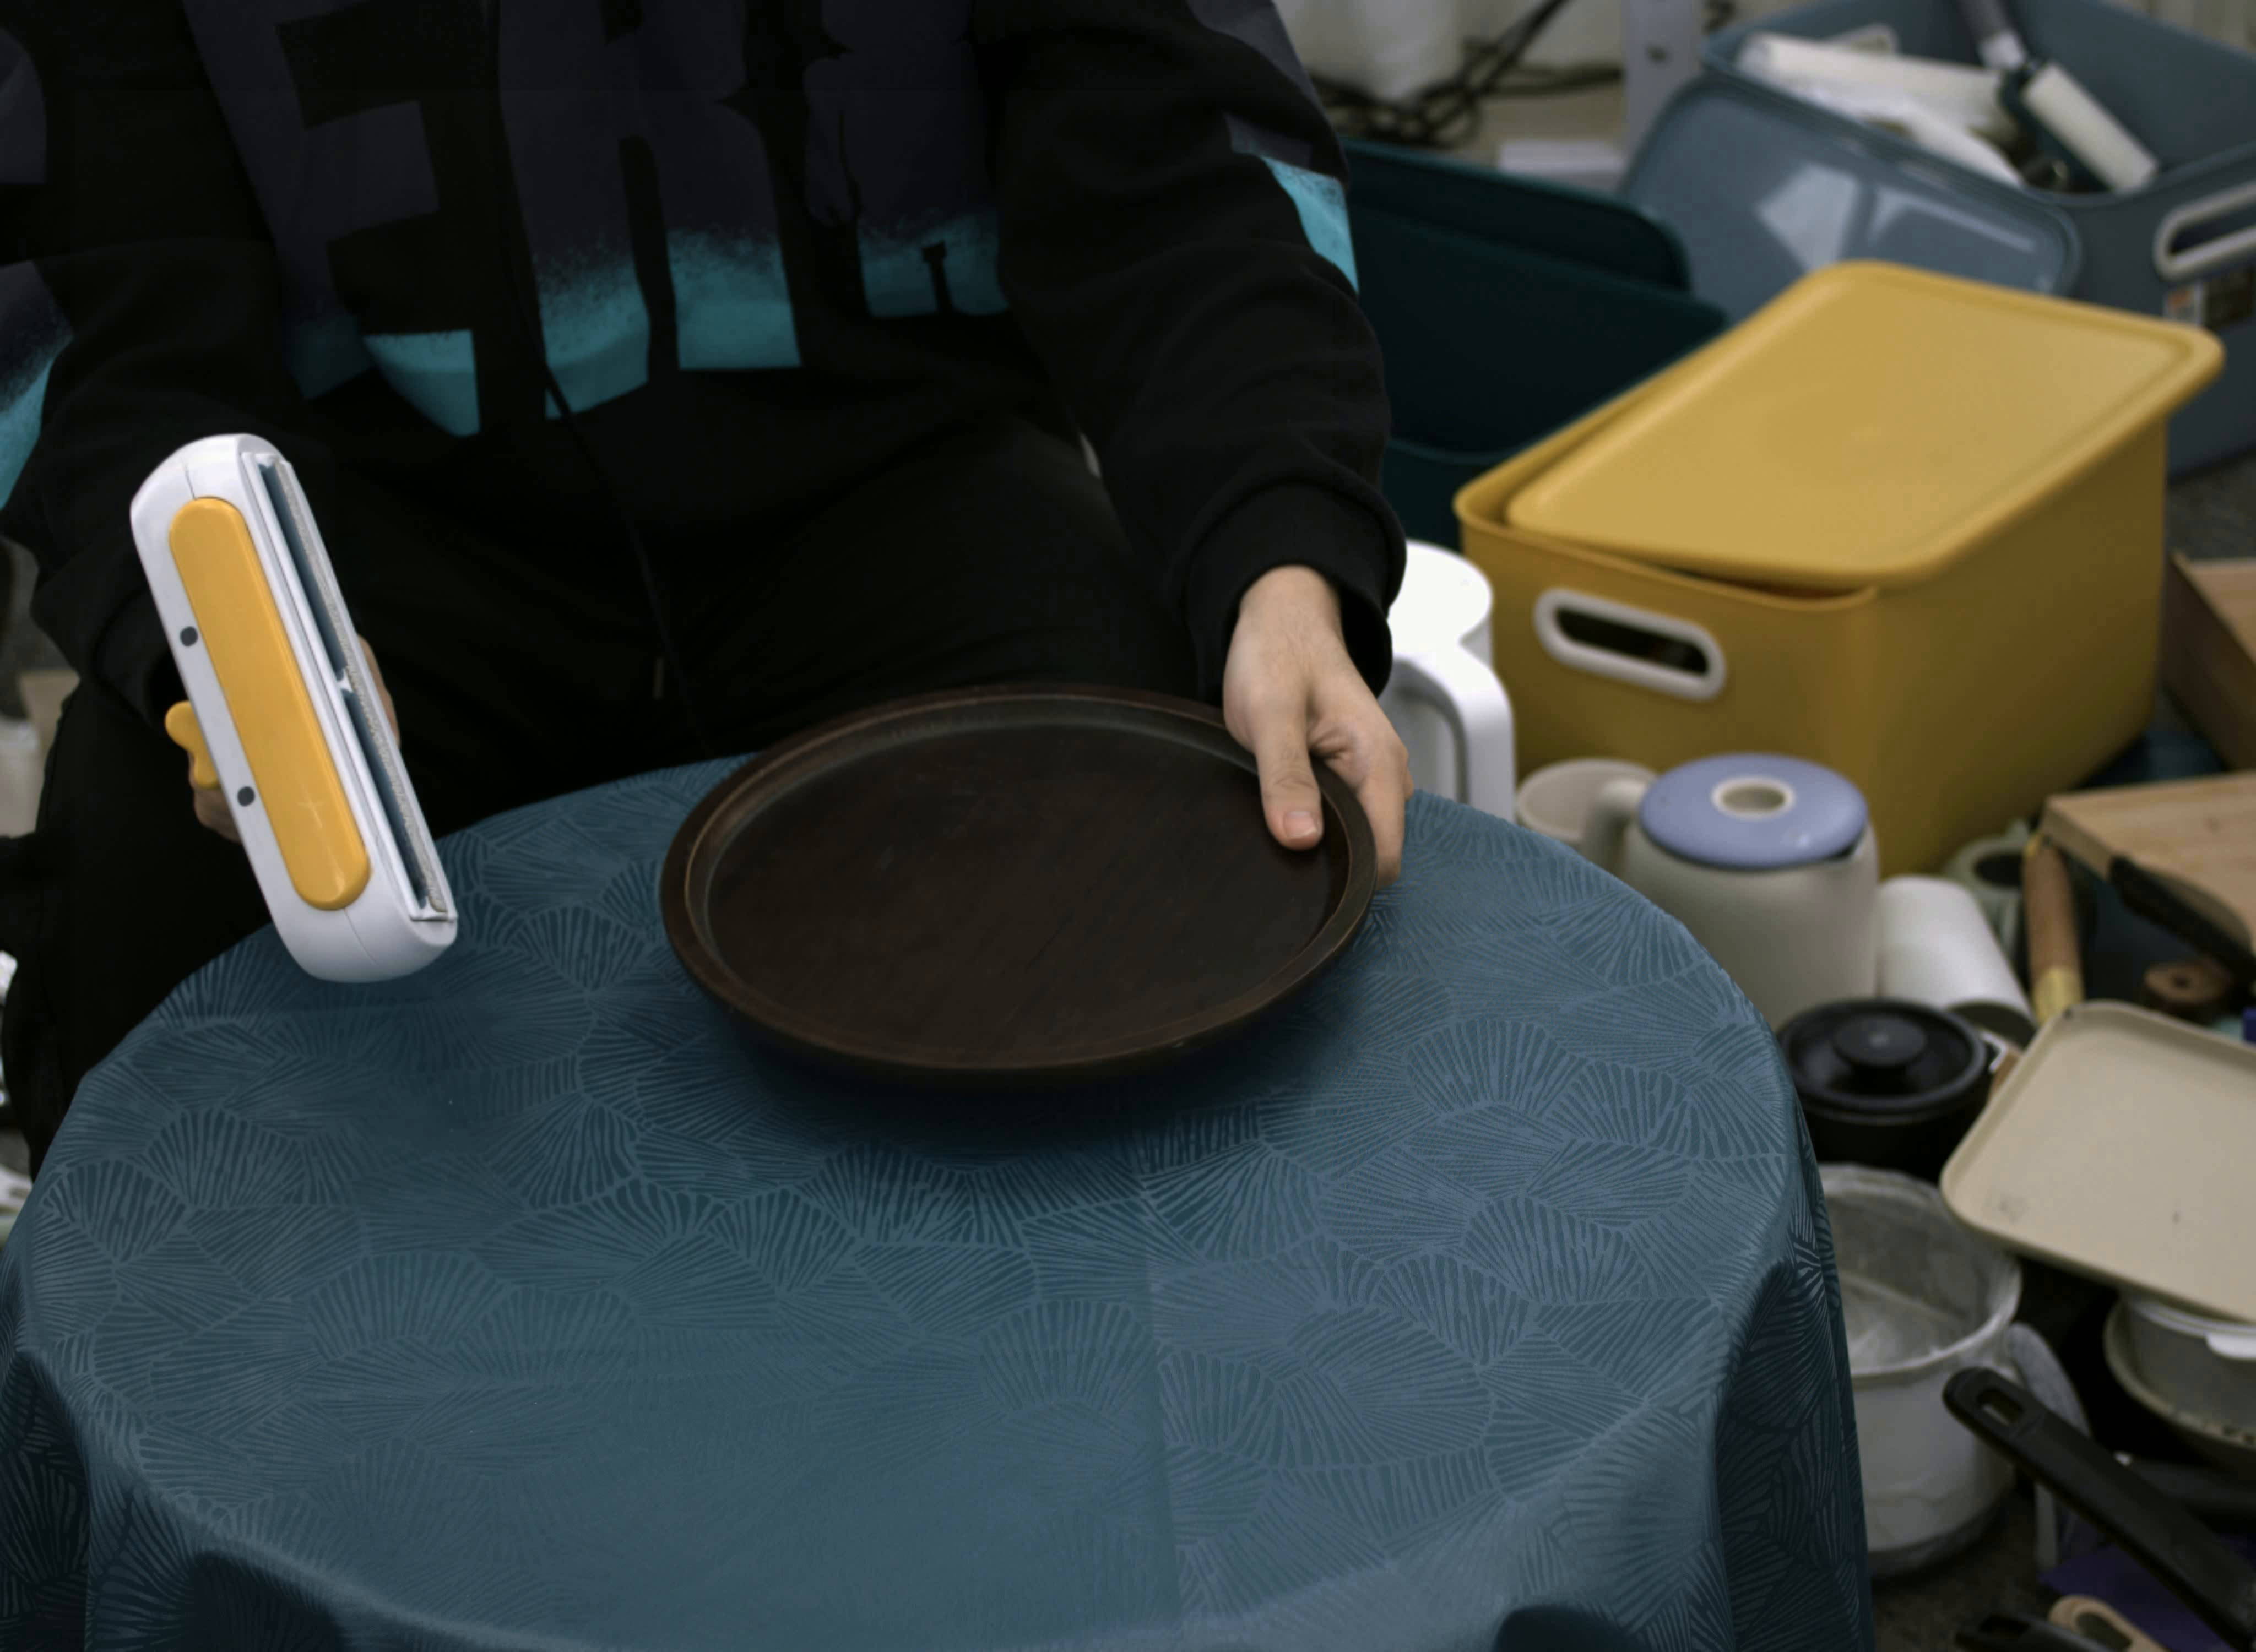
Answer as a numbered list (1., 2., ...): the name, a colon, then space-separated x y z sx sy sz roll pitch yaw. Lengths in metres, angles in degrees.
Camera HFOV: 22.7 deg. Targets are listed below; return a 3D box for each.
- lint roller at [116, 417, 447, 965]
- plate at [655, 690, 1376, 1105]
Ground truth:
1. lint roller: -0.282 -0.032 1.945 0.074 0.194 0.191 -26 -12 2
2. plate: -0.039 0.024 1.972 0.253 0.029 0.259 -2 30 2
